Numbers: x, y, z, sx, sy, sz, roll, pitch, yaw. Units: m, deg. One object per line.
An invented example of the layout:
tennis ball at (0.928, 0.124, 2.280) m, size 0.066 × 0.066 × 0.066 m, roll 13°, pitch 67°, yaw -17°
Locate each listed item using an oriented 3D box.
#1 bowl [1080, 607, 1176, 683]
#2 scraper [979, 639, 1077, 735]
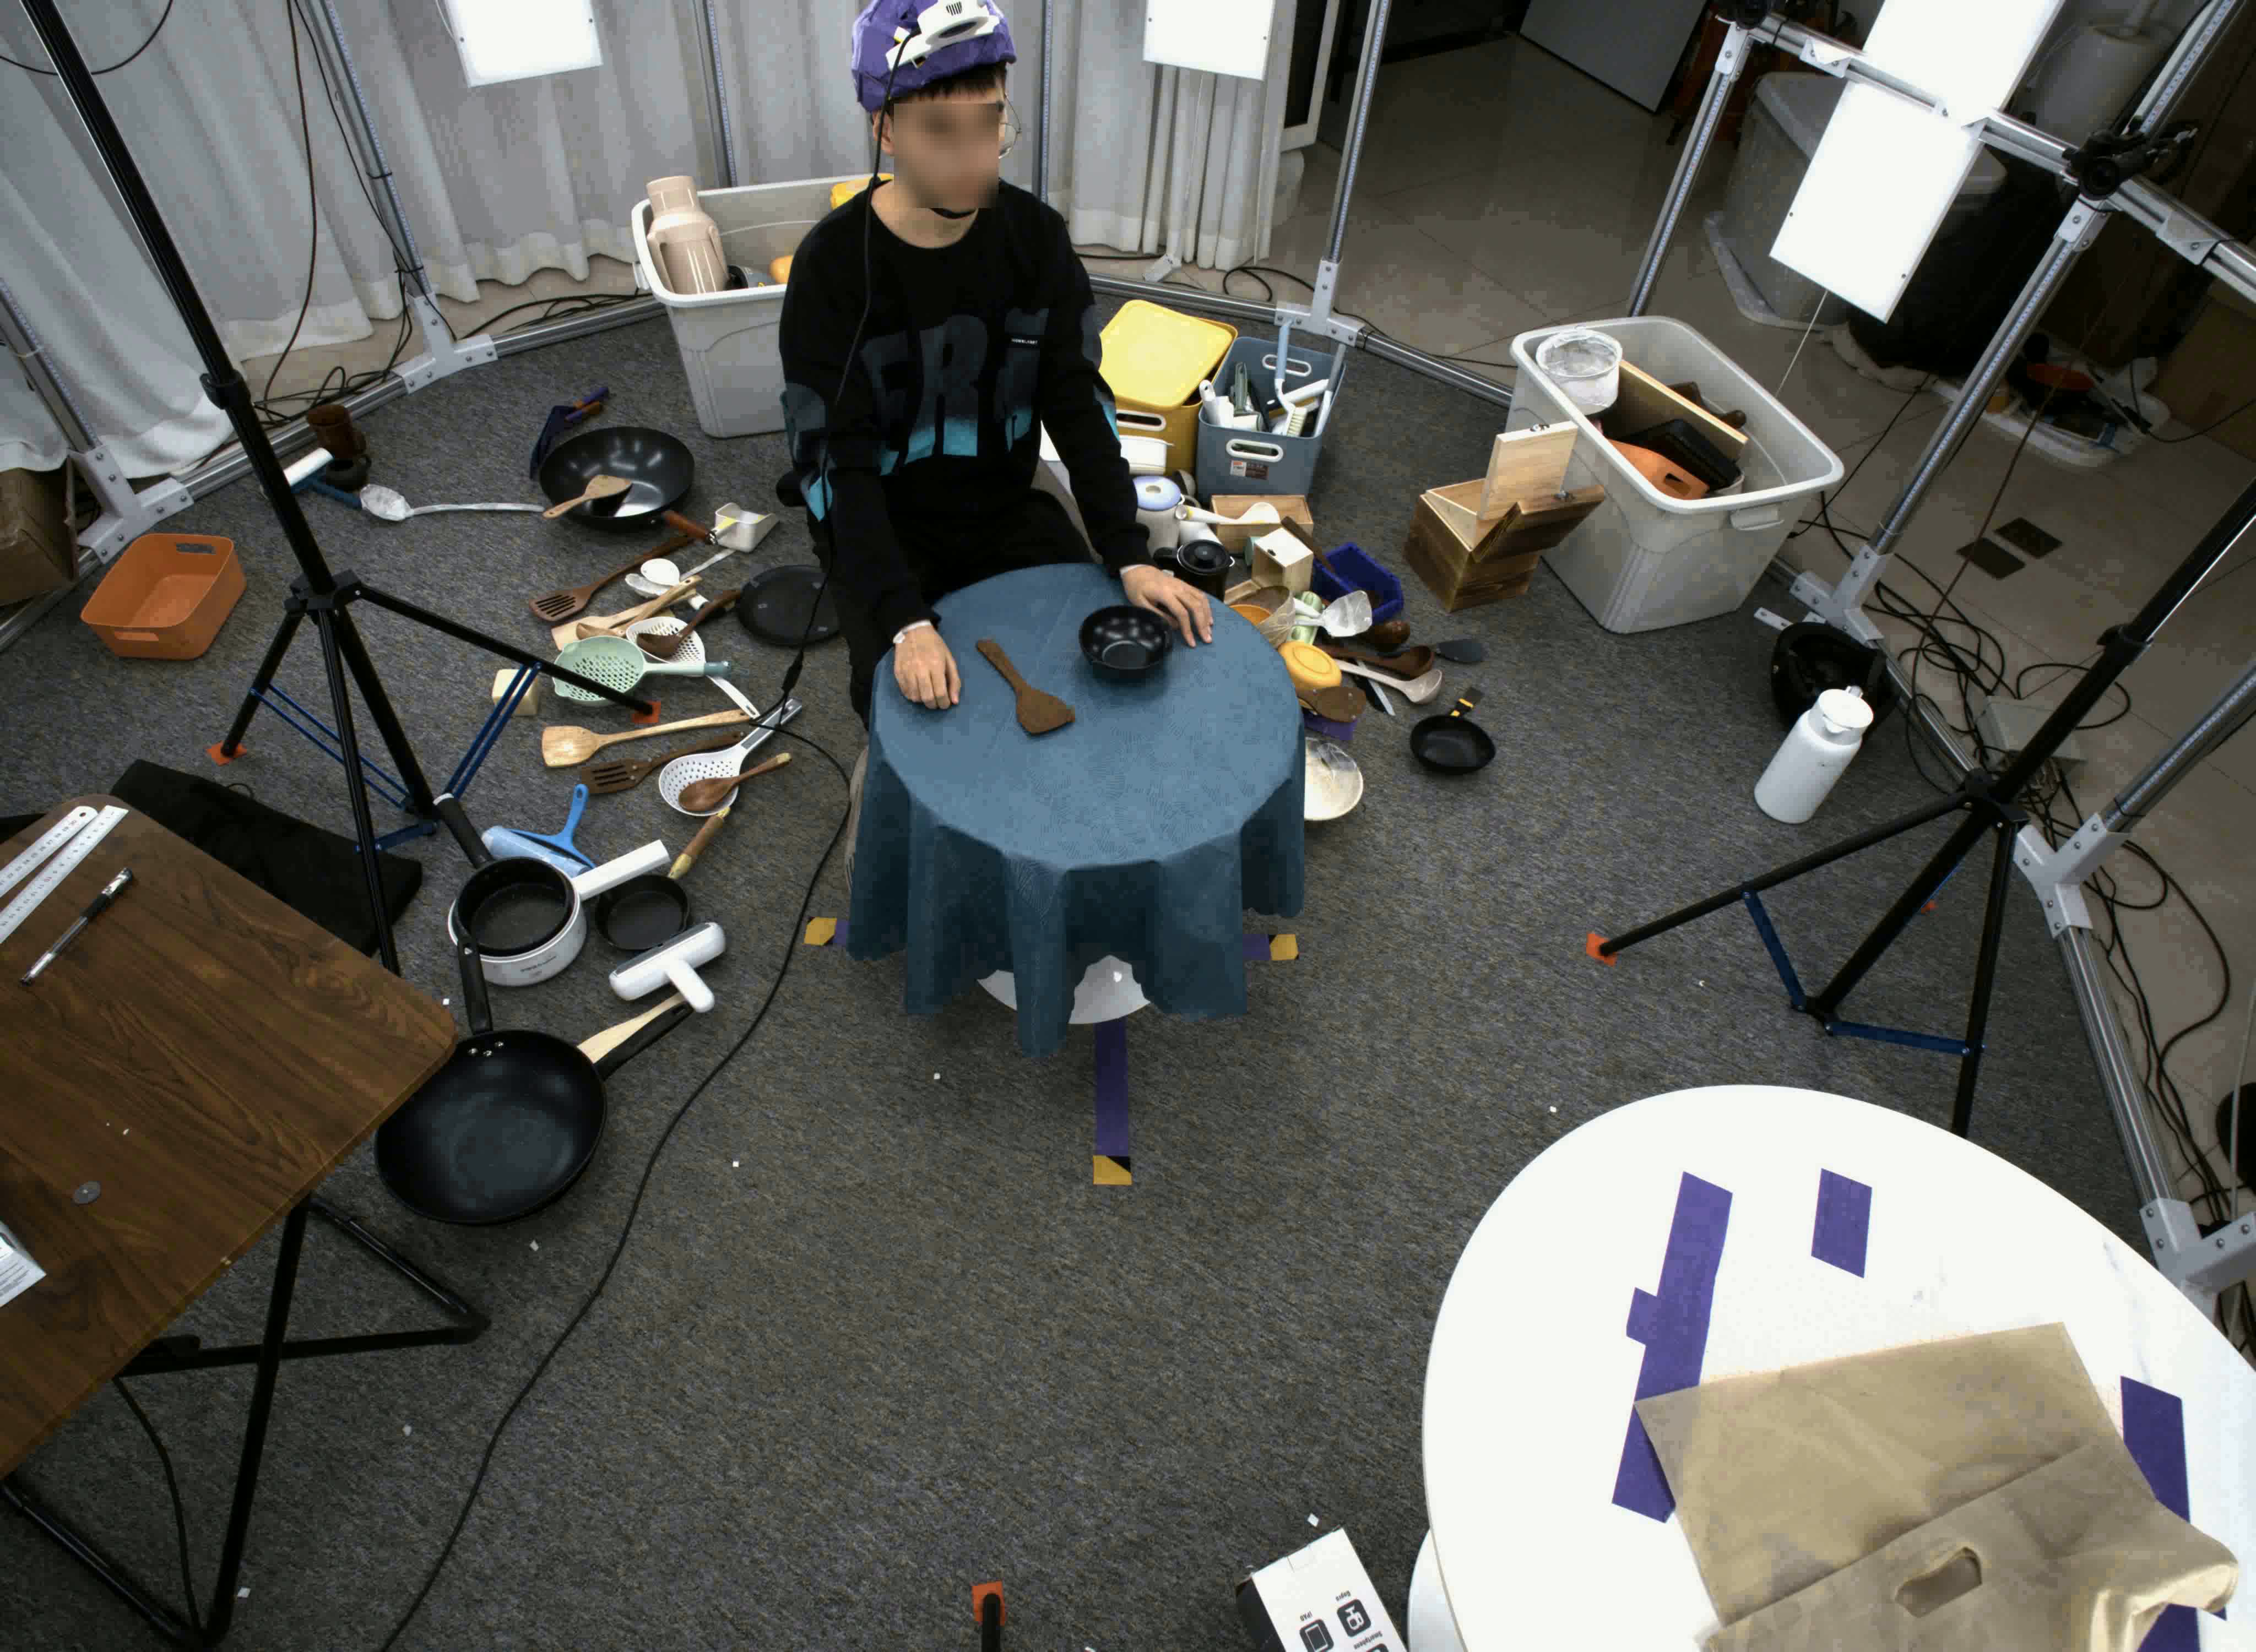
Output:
bowl at (0.000, -0.256, 1.877) m, size 0.140 × 0.048 × 0.143 m, roll 0°, pitch 49°, yaw 0°
scraper at (-0.154, -0.203, 1.846) m, size 0.076 × 0.010 × 0.215 m, roll -23°, pitch 53°, yaw -23°
